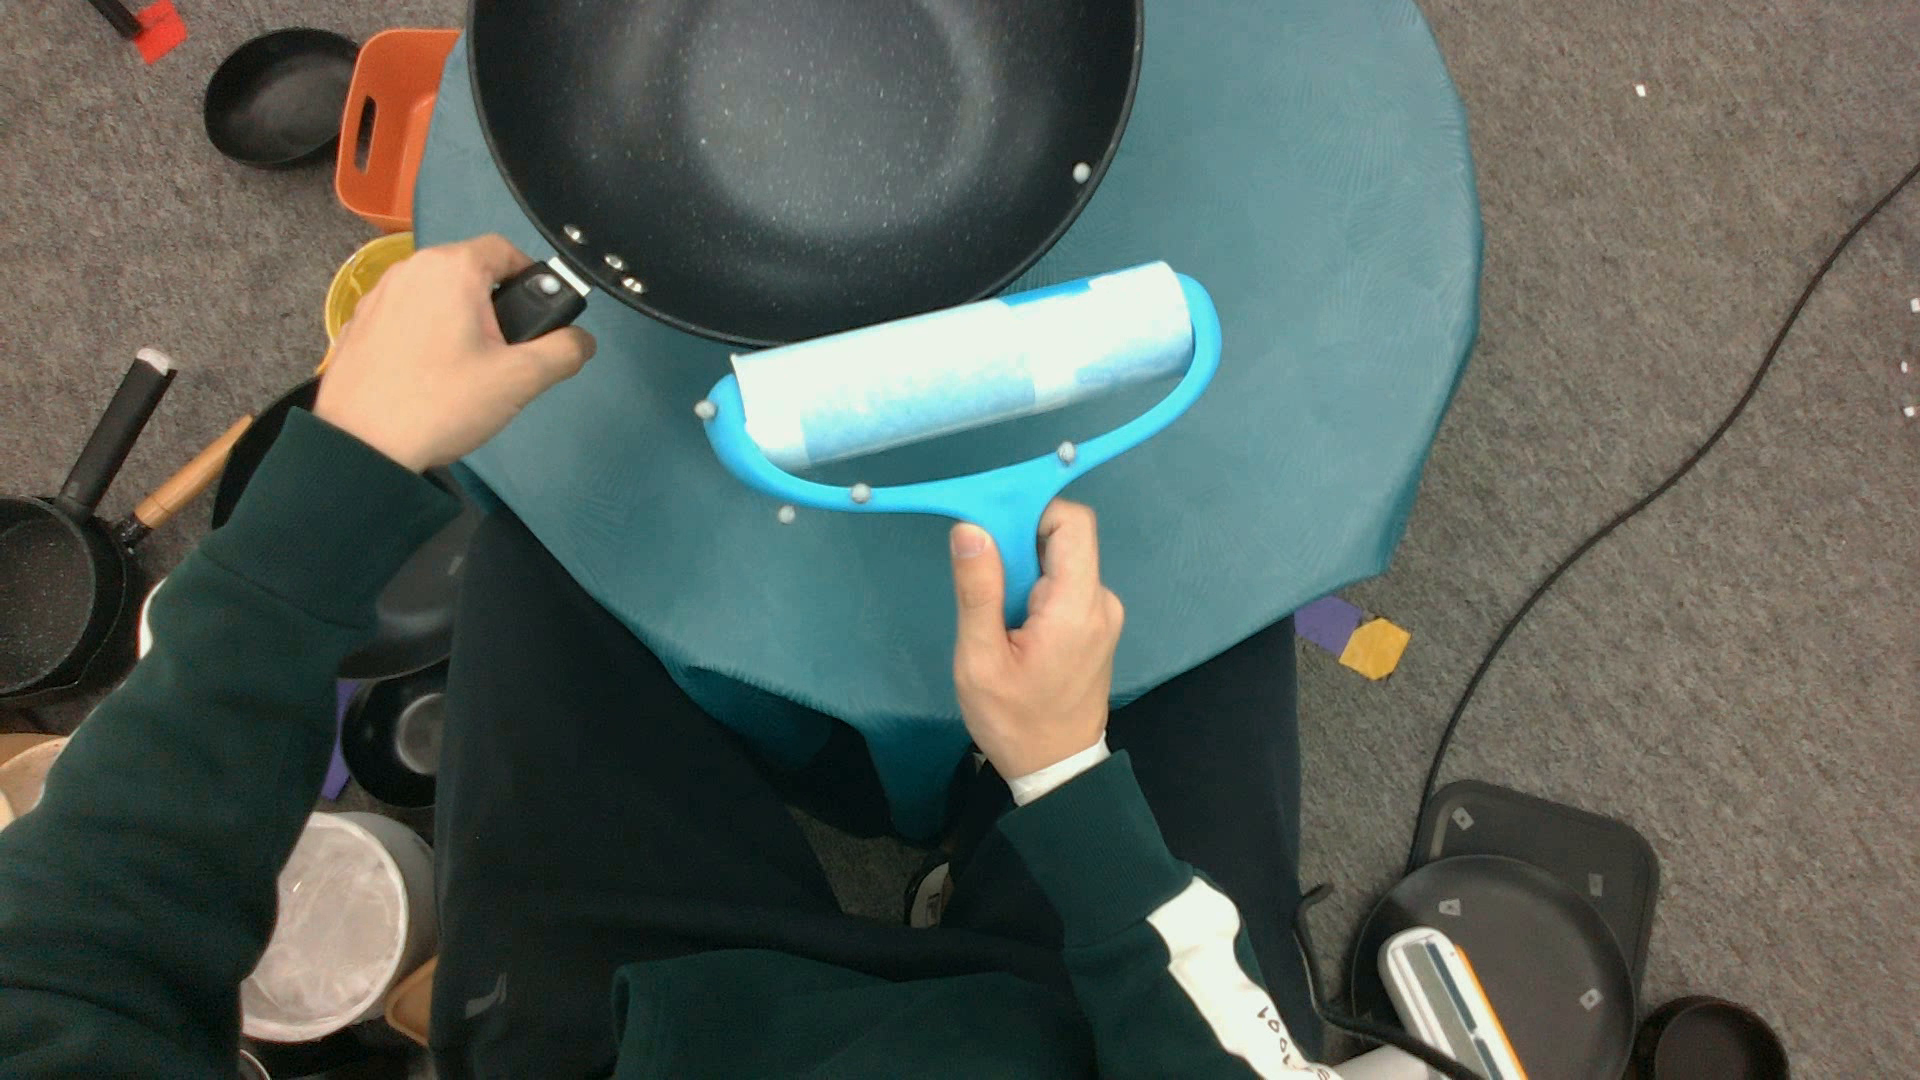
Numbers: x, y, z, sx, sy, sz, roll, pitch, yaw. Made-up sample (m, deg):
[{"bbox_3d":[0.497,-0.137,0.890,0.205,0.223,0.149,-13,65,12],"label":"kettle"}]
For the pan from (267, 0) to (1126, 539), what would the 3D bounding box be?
[{"bbox_3d":[-0.132,-0.182,0.647,0.310,0.111,0.477,39,86,5],"label":"pan"}]

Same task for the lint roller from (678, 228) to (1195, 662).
[{"bbox_3d":[0.009,-0.027,0.604,0.229,0.068,0.180,-19,99,-8],"label":"lint roller"}]
